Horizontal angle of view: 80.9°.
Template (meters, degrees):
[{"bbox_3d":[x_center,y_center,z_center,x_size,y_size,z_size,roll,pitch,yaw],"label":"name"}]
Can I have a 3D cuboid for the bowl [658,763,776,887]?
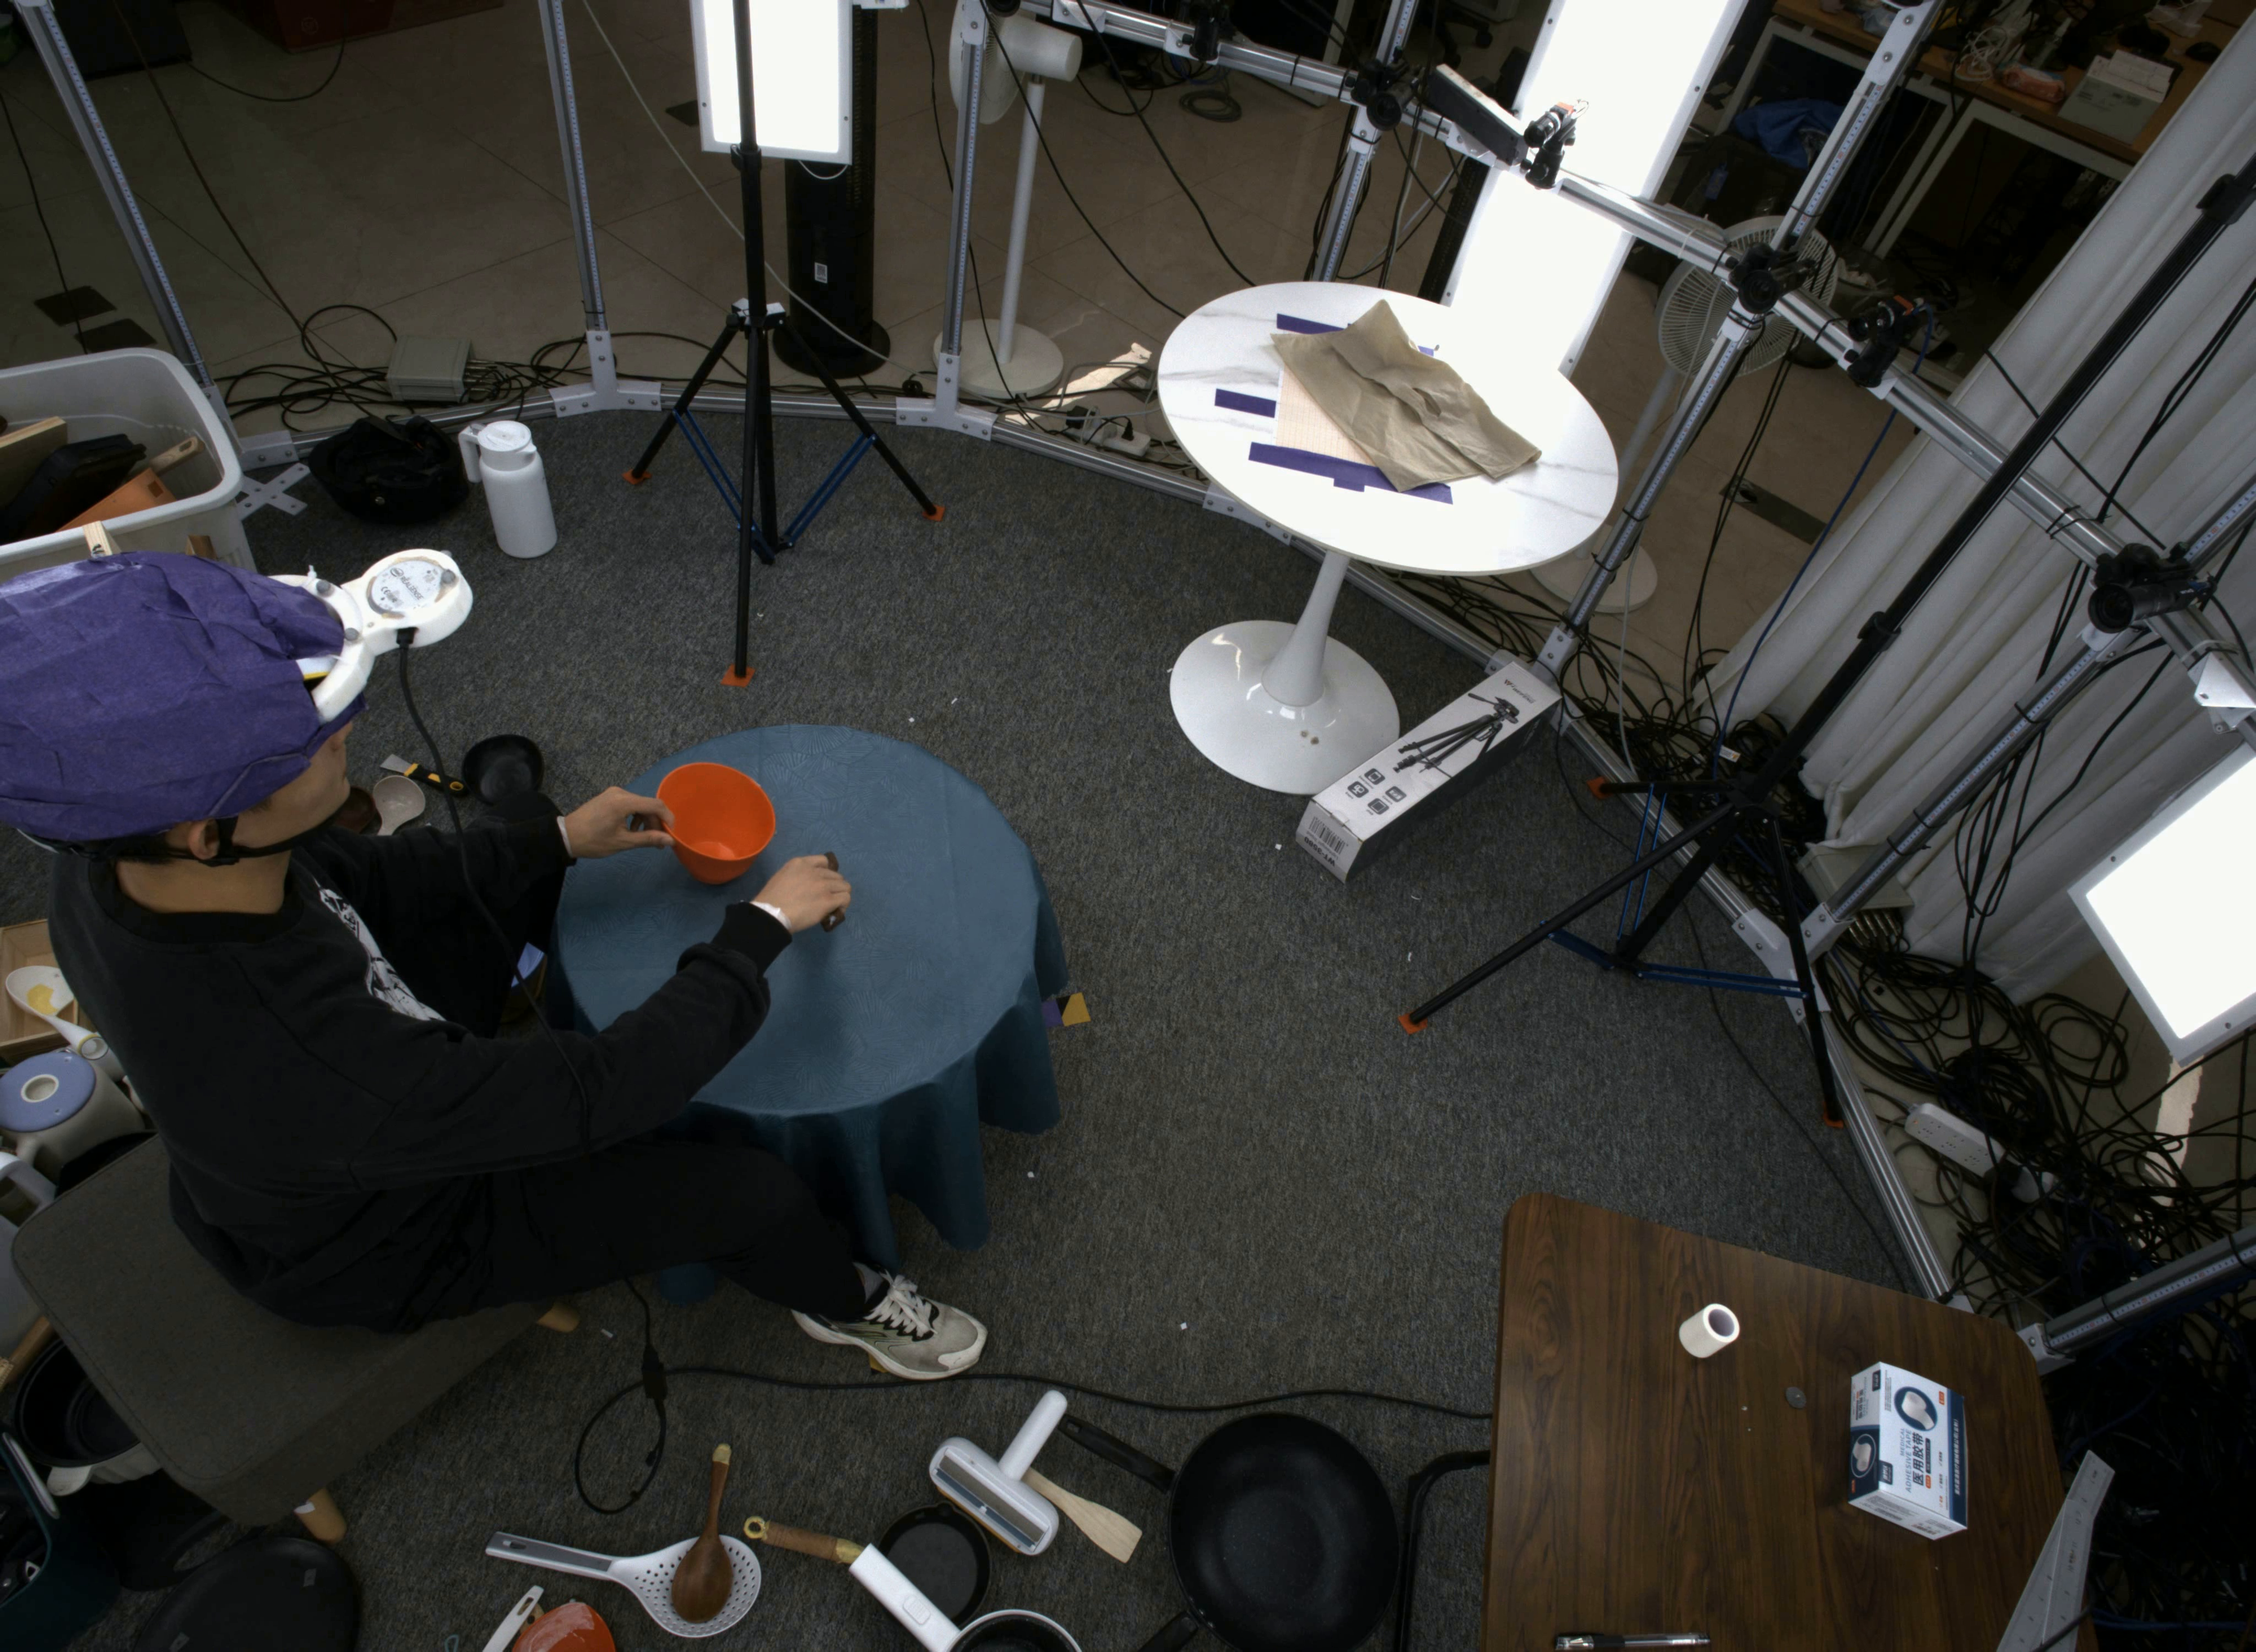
[{"bbox_3d":[-0.522,0.008,1.623,0.149,0.106,0.145,18,40,-14],"label":"bowl"}]

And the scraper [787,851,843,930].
[{"bbox_3d":[-0.365,0.080,1.543,0.076,0.011,0.205,-40,25,-6],"label":"scraper"}]
